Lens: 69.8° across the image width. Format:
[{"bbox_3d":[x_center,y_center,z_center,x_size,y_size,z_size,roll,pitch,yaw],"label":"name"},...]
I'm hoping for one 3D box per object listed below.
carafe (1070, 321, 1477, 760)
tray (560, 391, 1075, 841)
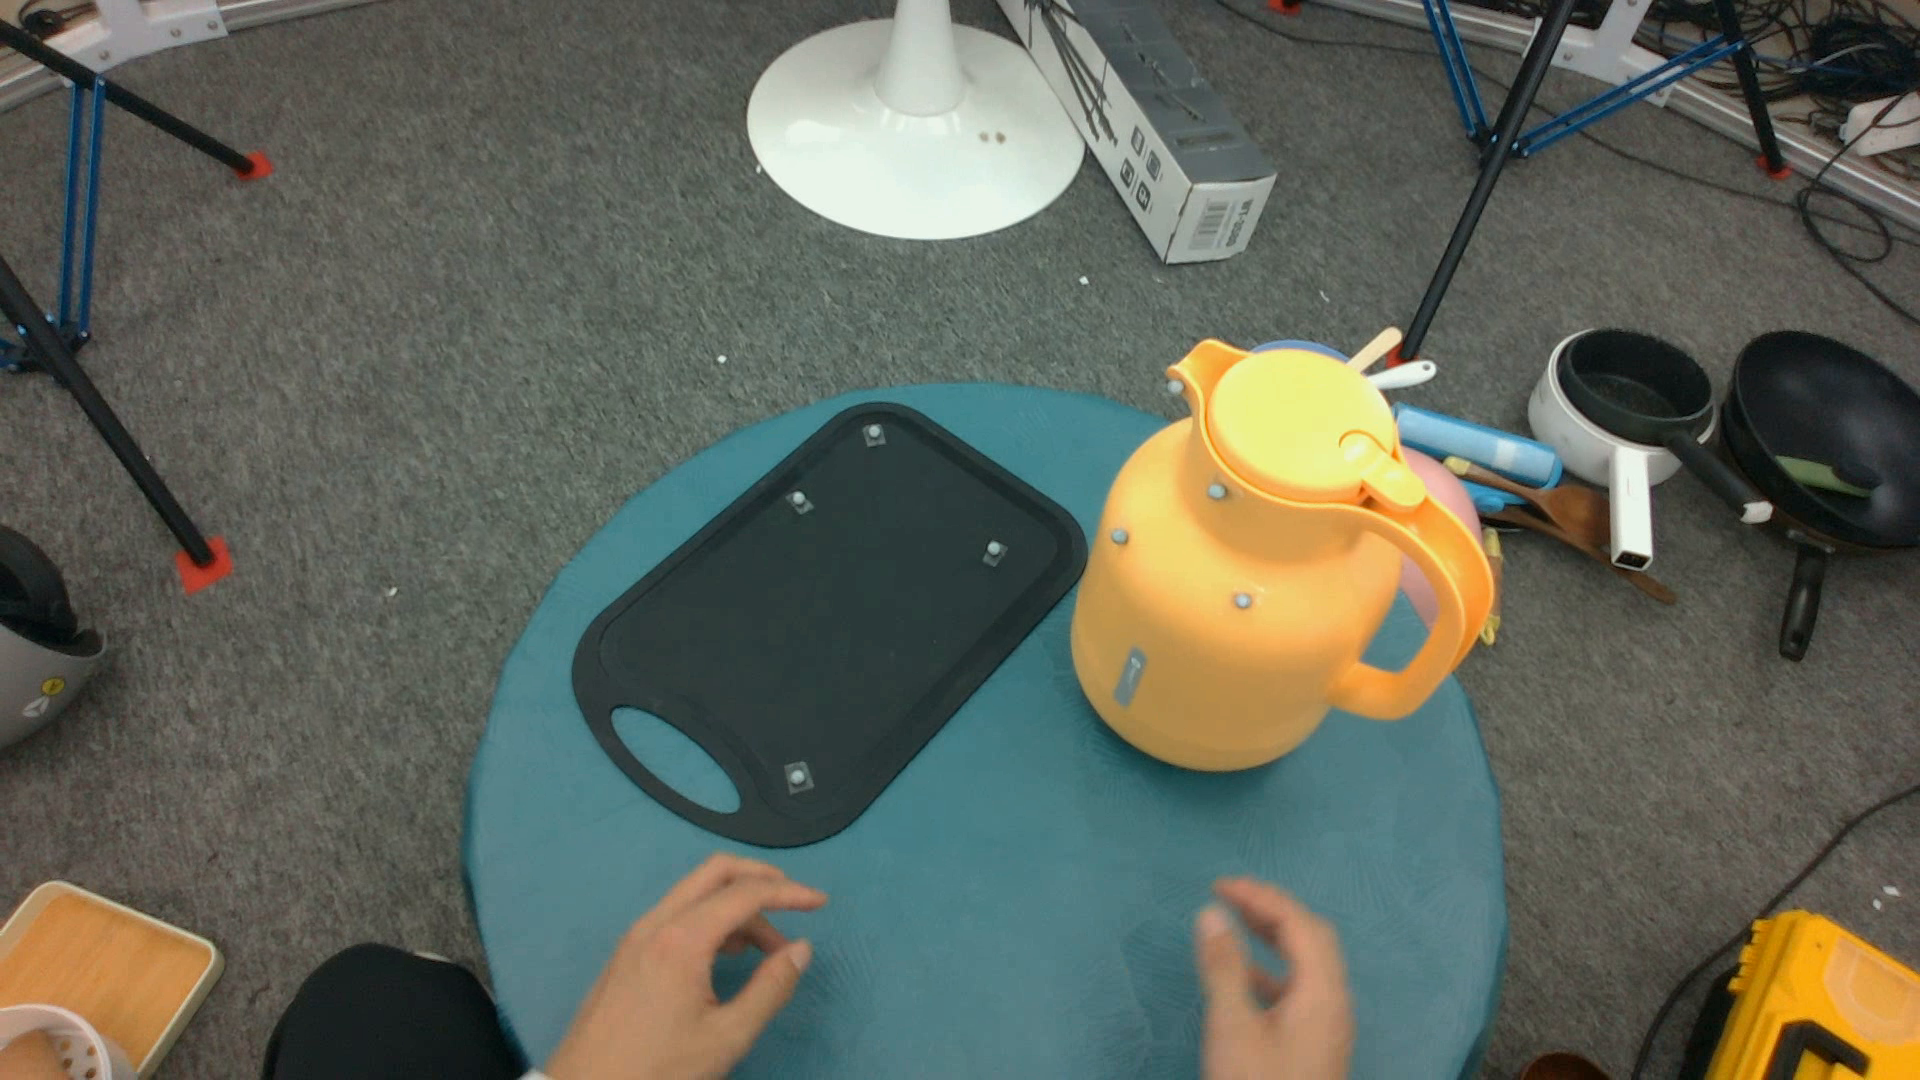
[{"bbox_3d":[0.163,0.014,0.745,0.164,0.259,0.202,-38,65,-24],"label":"carafe"},{"bbox_3d":[-0.086,0.037,0.859,0.211,0.010,0.327,35,59,18],"label":"tray"}]
